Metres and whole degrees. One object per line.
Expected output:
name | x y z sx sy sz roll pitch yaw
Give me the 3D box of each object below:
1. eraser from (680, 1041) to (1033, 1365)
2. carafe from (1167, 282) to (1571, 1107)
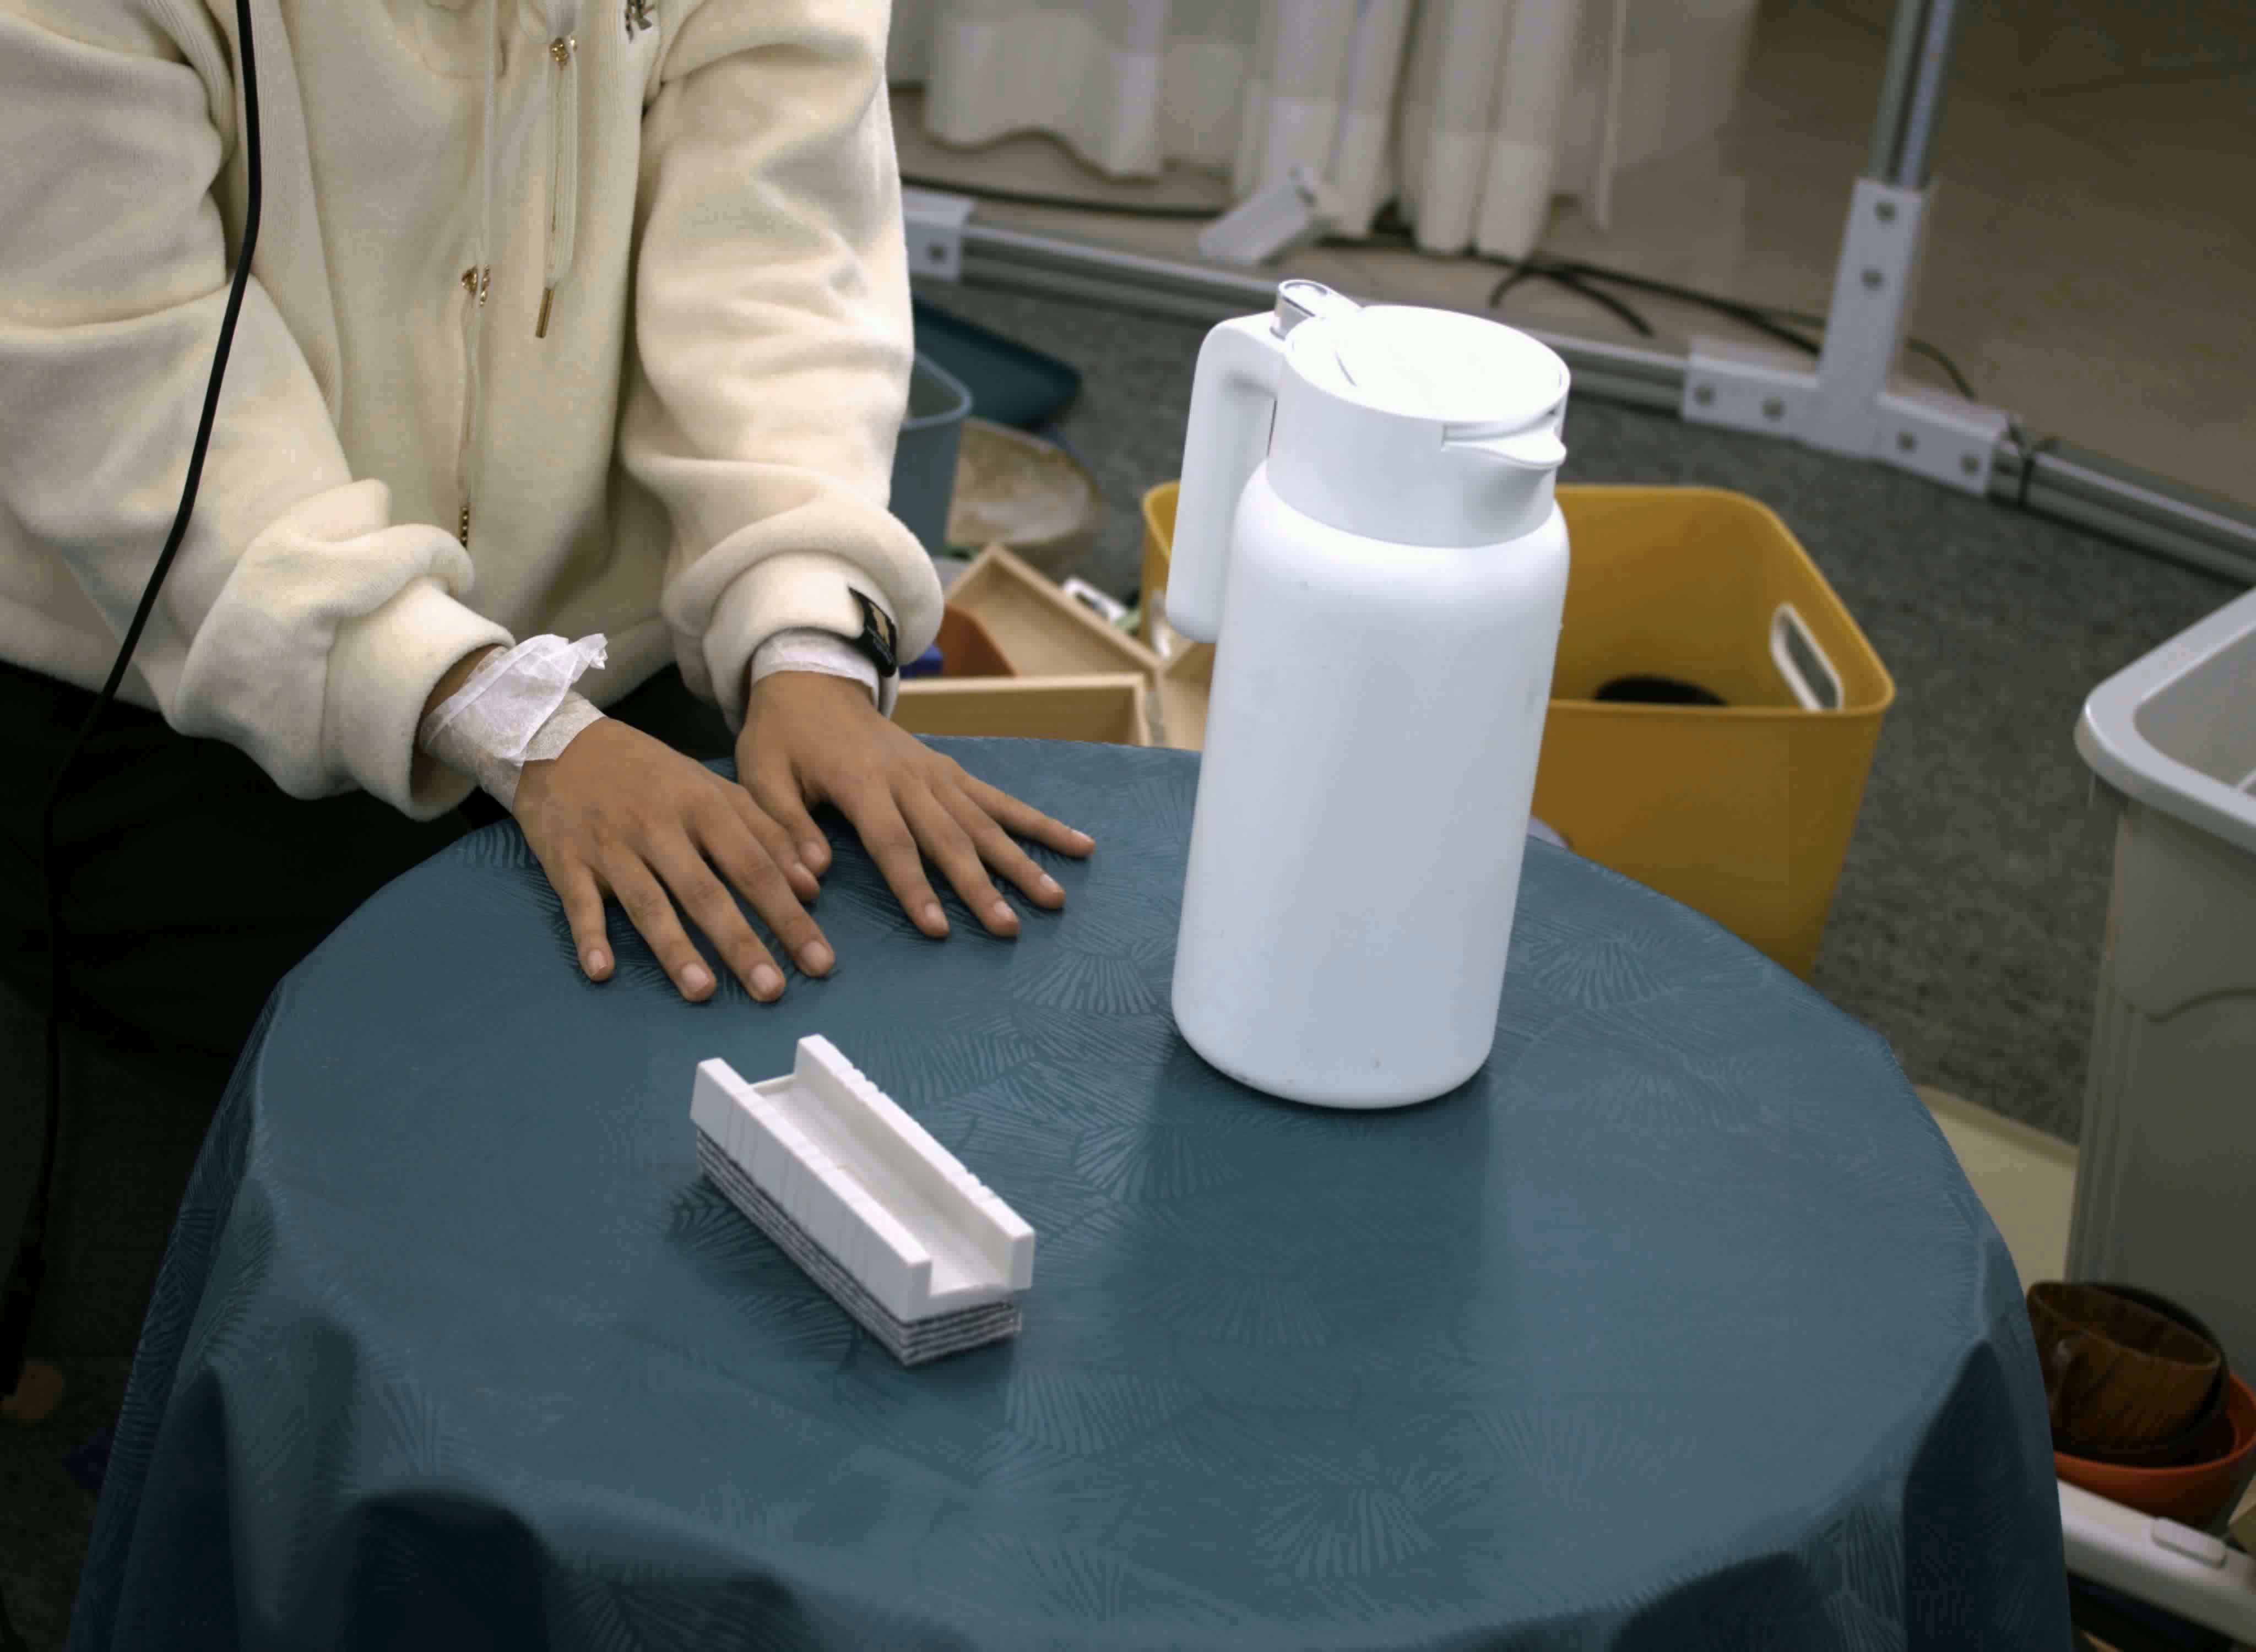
eraser | -0.090 0.122 1.735 0.049 0.046 0.135 -17 35 -33
carafe | 0.074 -0.049 1.864 0.123 0.268 0.174 -15 34 -34
